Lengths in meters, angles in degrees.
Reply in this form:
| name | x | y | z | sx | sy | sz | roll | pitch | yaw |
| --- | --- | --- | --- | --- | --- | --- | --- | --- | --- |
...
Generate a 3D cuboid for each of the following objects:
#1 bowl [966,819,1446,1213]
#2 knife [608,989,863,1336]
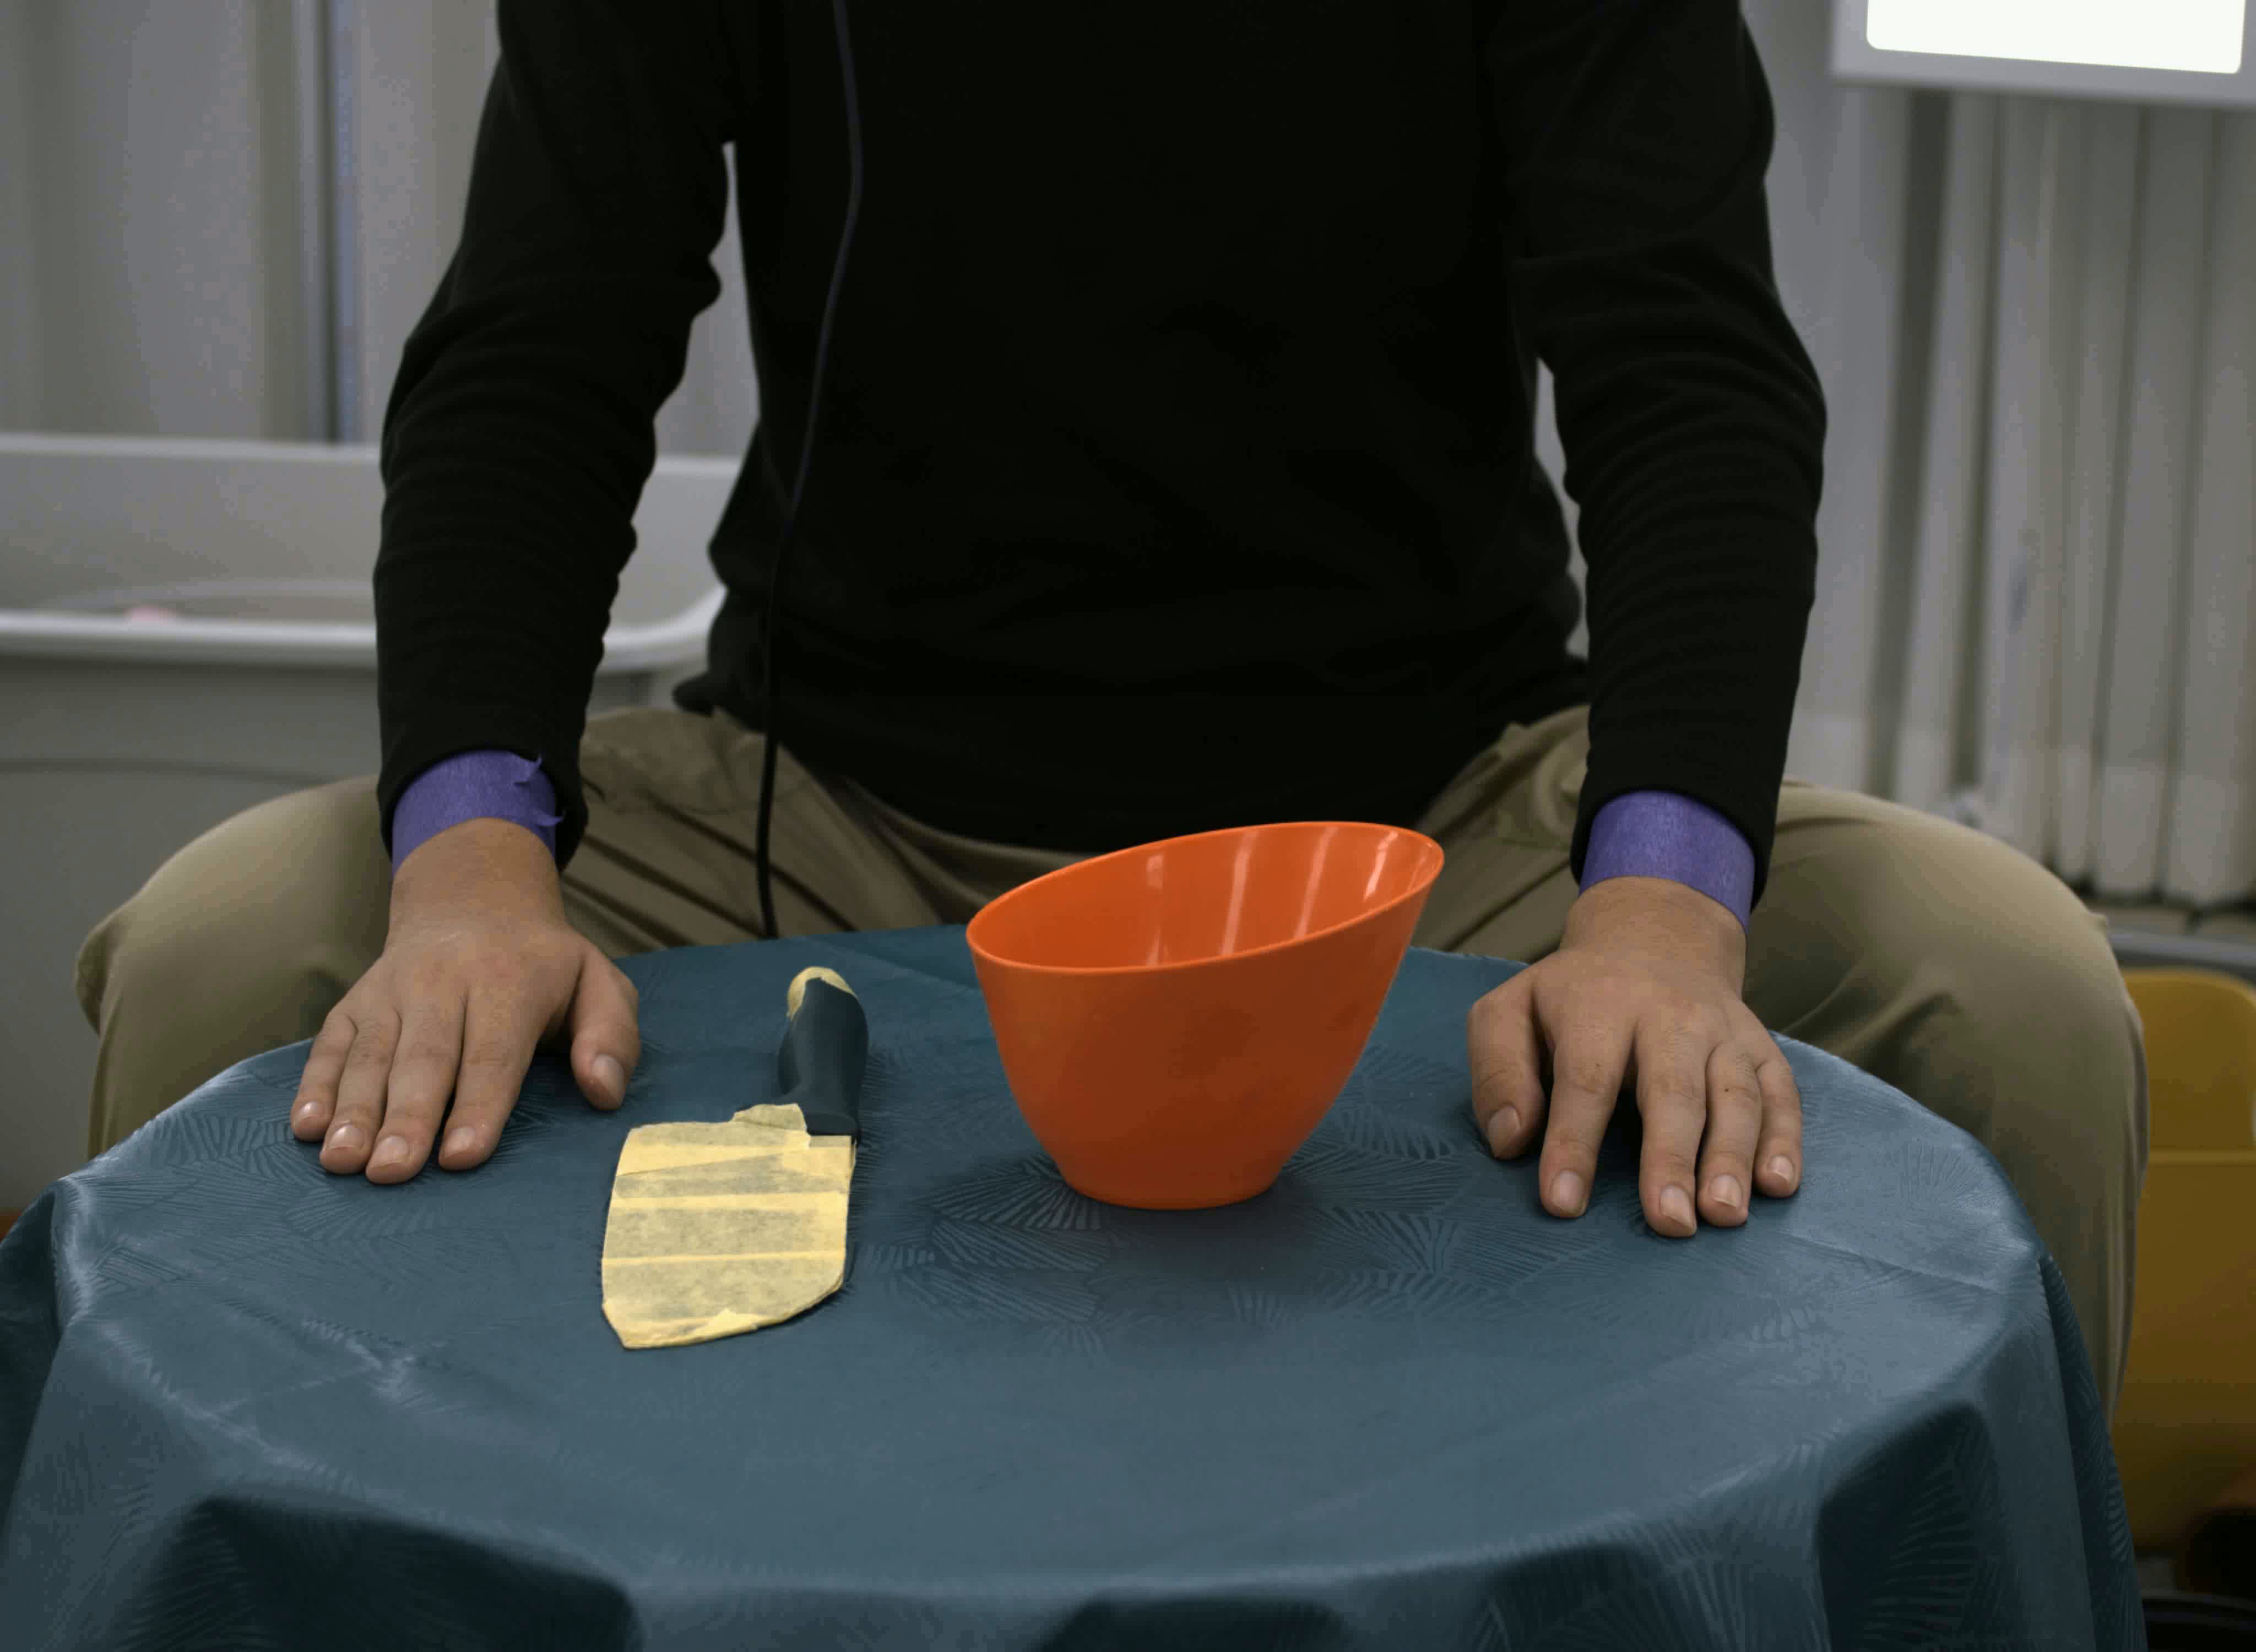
| name | x | y | z | sx | sy | sz | roll | pitch | yaw |
| --- | --- | --- | --- | --- | --- | --- | --- | --- | --- |
| bowl | 0.024 | 0.060 | 1.620 | 0.147 | 0.105 | 0.147 | 0 | 17 | 1 |
| knife | -0.118 | 0.103 | 1.626 | 0.081 | 0.027 | 0.288 | 2 | 17 | 1 |
